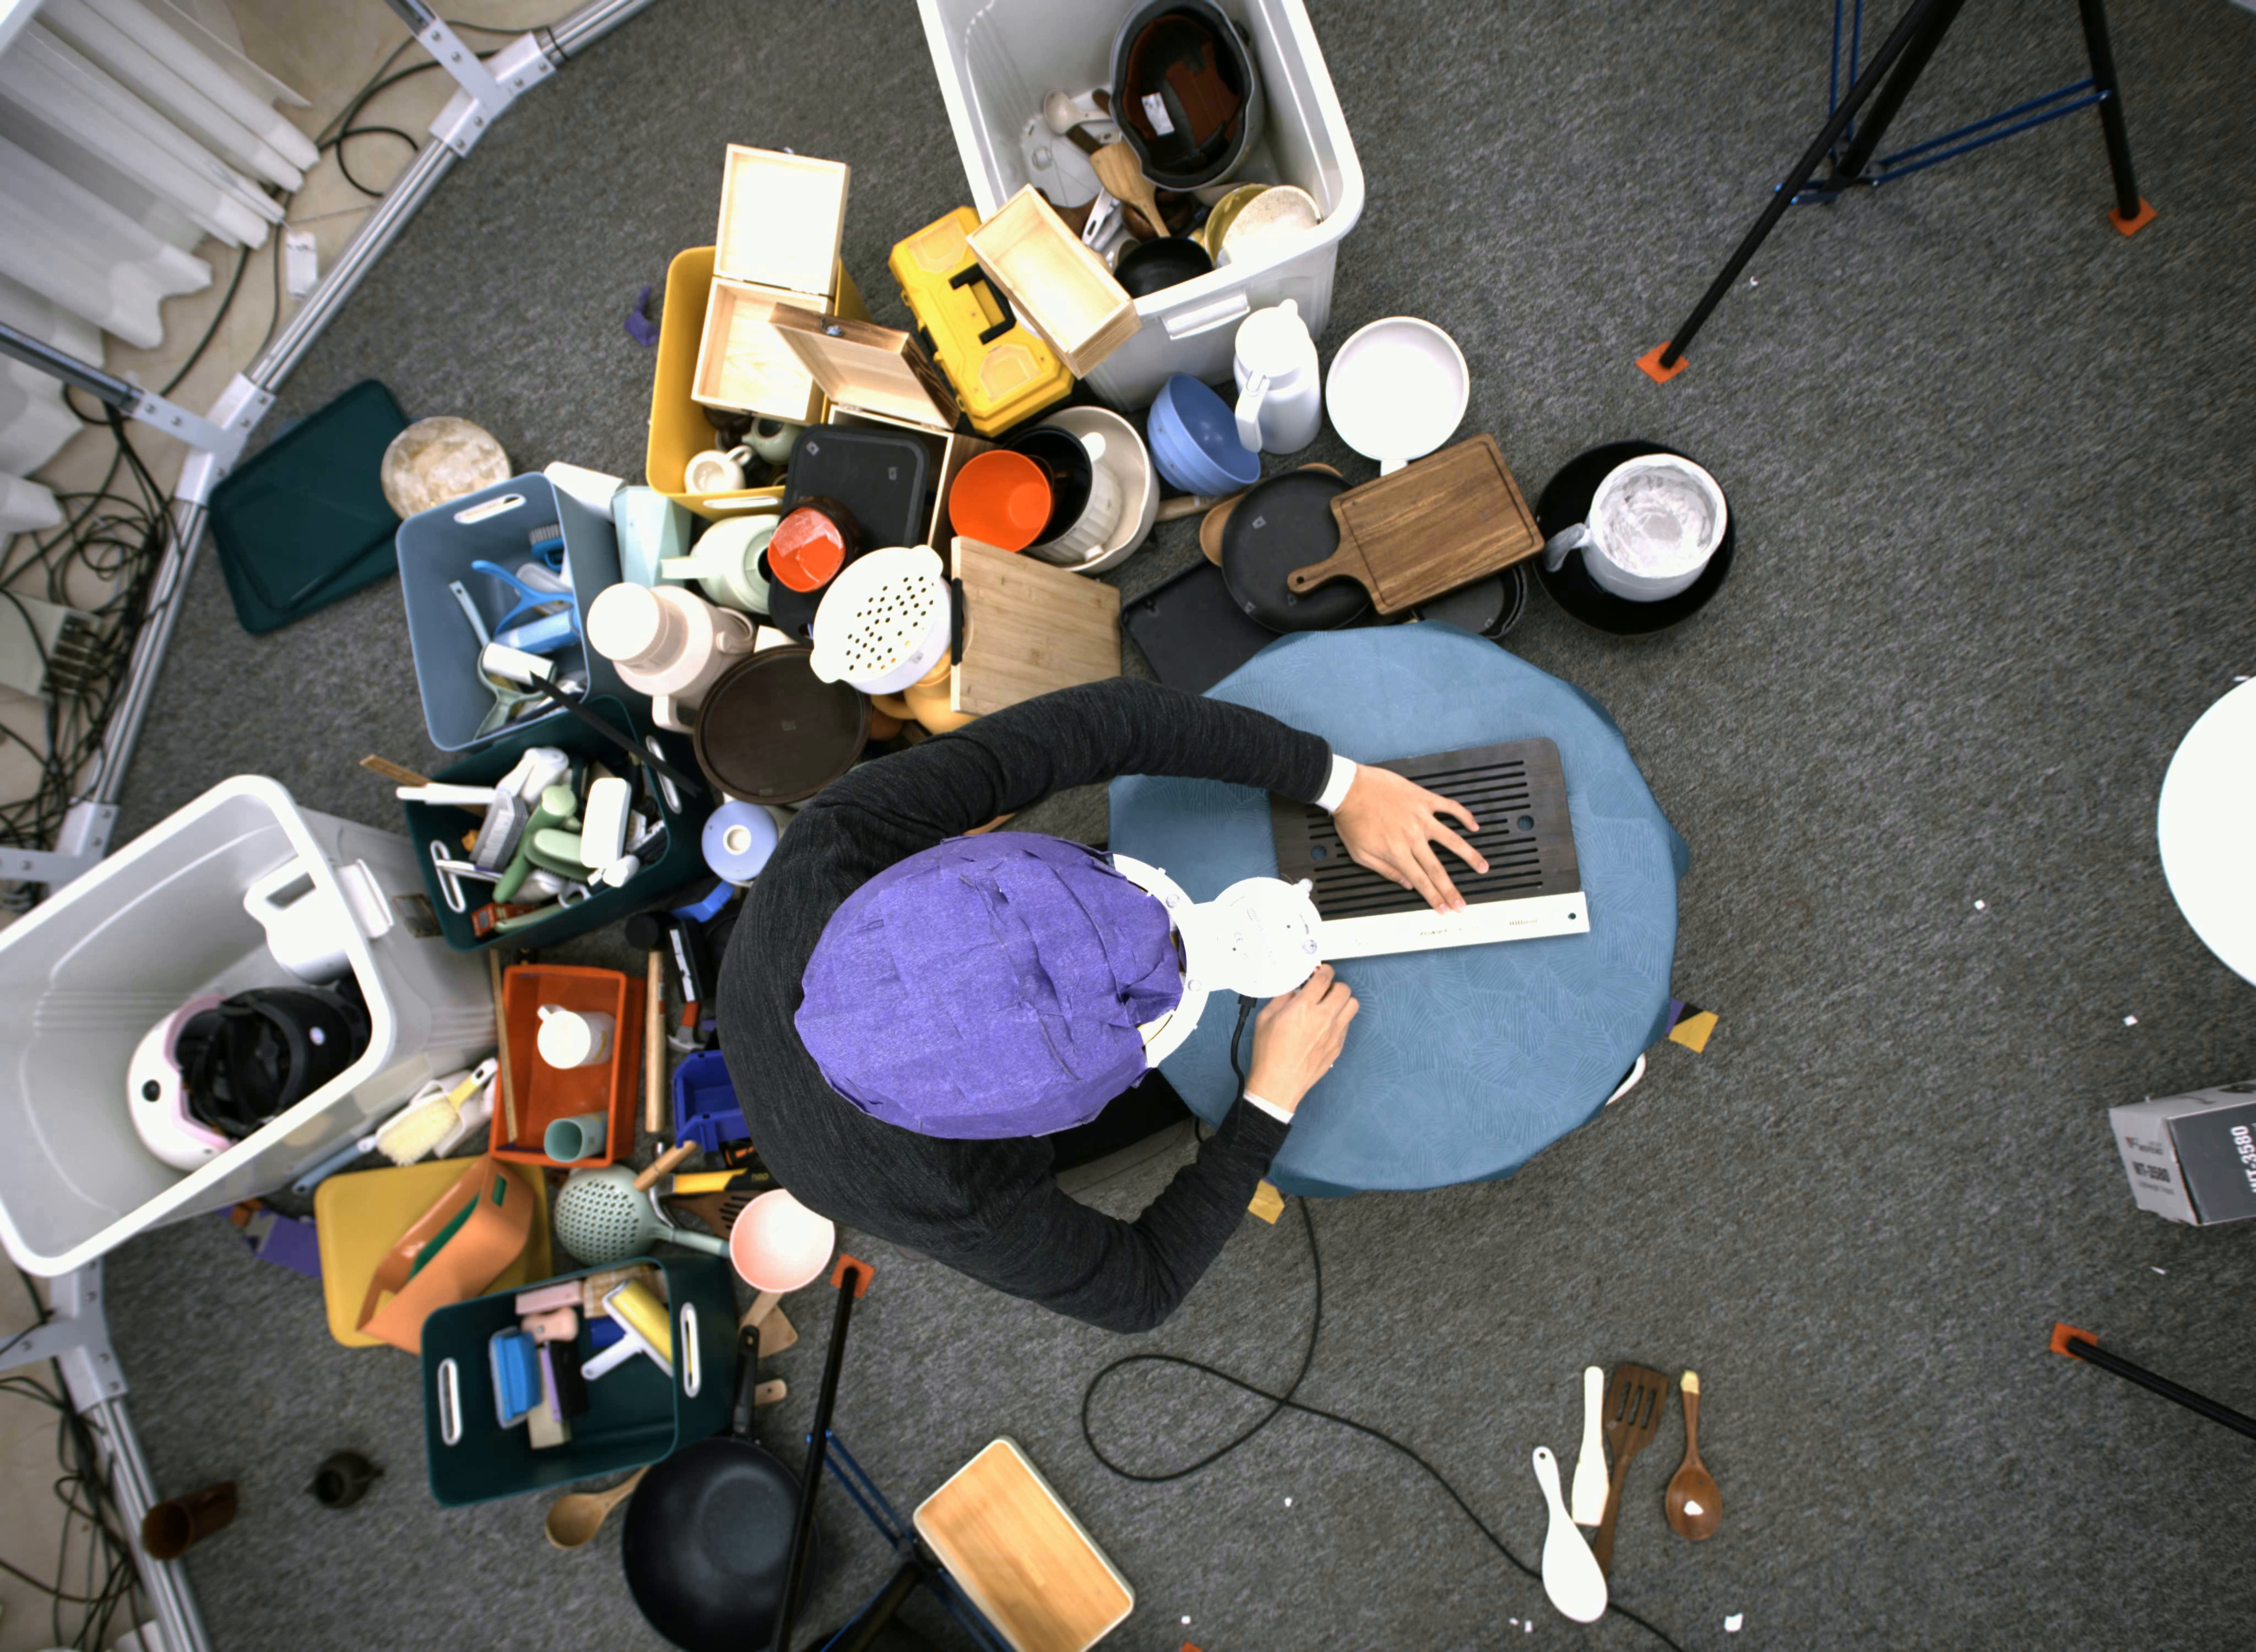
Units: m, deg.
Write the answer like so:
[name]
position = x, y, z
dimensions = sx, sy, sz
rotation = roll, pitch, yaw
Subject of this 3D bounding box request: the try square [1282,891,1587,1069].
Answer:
[try square]
position = 0.320, 0.158, 1.425
dimensions = 0.314, 0.016, 0.151
rotation = -7, 83, 10

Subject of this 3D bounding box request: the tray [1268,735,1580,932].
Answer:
[tray]
position = 0.308, 0.007, 1.448
dimensions = 0.307, 0.018, 0.169
rotation = -9, 86, 10
